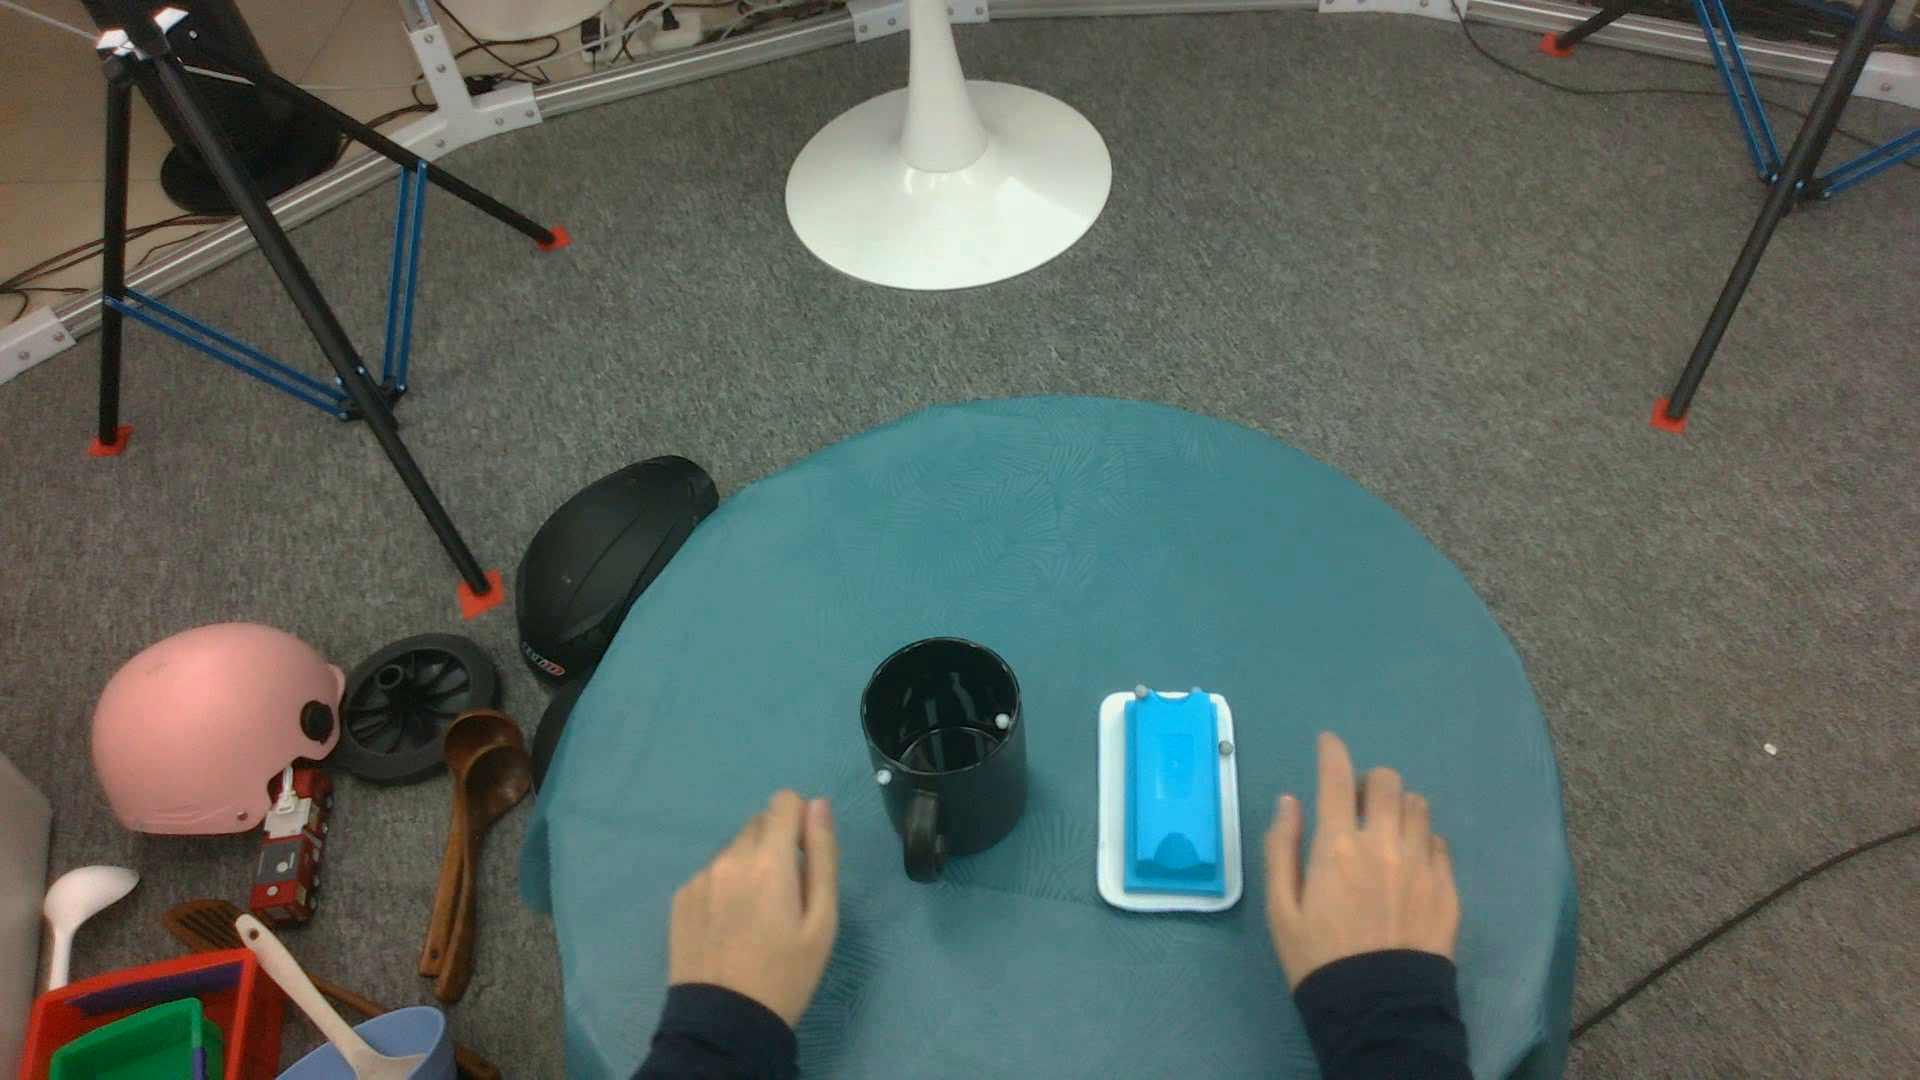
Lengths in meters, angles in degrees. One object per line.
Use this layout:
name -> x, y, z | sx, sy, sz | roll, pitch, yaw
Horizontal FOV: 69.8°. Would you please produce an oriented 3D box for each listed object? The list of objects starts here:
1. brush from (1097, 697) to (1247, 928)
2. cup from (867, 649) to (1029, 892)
brush -> 0.122, 0.148, 0.790 | 0.084, 0.055, 0.144 | 0, 49, 10
cup -> -0.009, 0.140, 0.785 | 0.088, 0.105, 0.124 | 8, 55, 10
